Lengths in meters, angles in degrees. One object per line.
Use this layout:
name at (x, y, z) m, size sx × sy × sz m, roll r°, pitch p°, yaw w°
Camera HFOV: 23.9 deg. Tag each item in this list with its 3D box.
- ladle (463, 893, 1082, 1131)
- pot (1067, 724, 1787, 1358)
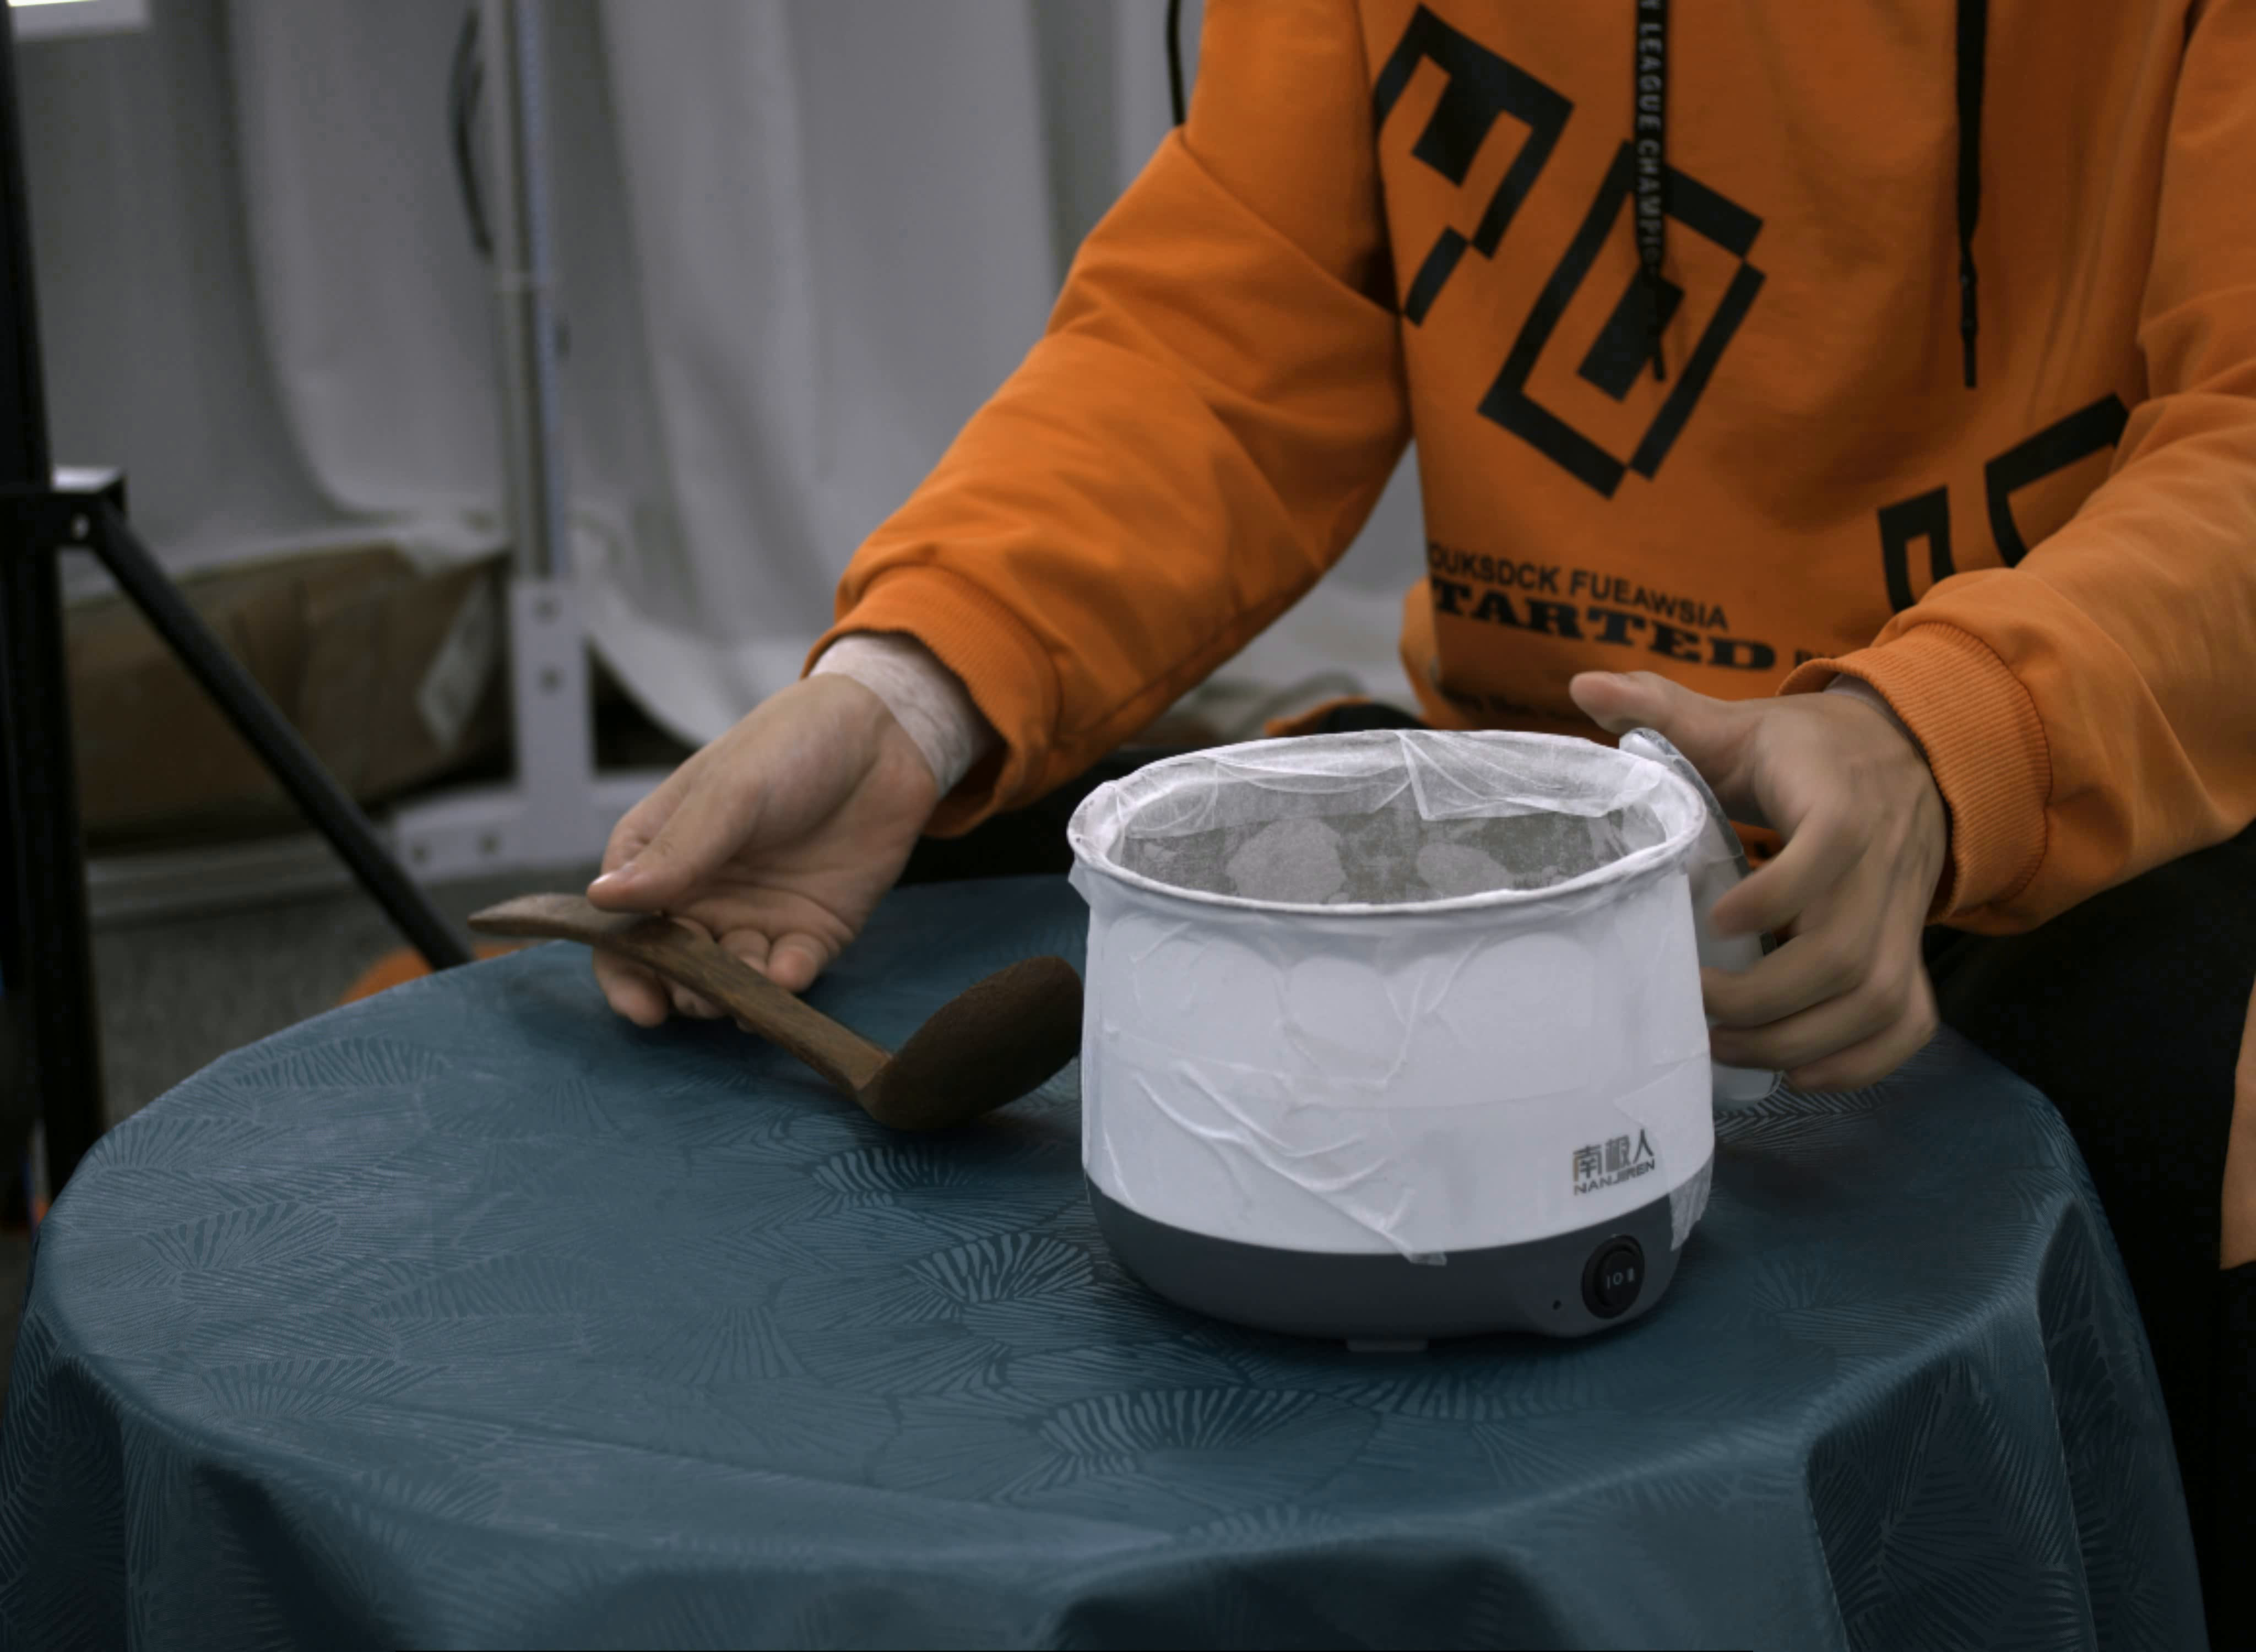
ladle at (-0.121, 0.036, 1.680) m, size 0.074 × 0.071 × 0.280 m, roll -14°, pitch 25°, yaw -39°
pot at (0.095, 0.052, 1.488) m, size 0.228 × 0.136 × 0.183 m, roll -16°, pitch 21°, yaw -37°
